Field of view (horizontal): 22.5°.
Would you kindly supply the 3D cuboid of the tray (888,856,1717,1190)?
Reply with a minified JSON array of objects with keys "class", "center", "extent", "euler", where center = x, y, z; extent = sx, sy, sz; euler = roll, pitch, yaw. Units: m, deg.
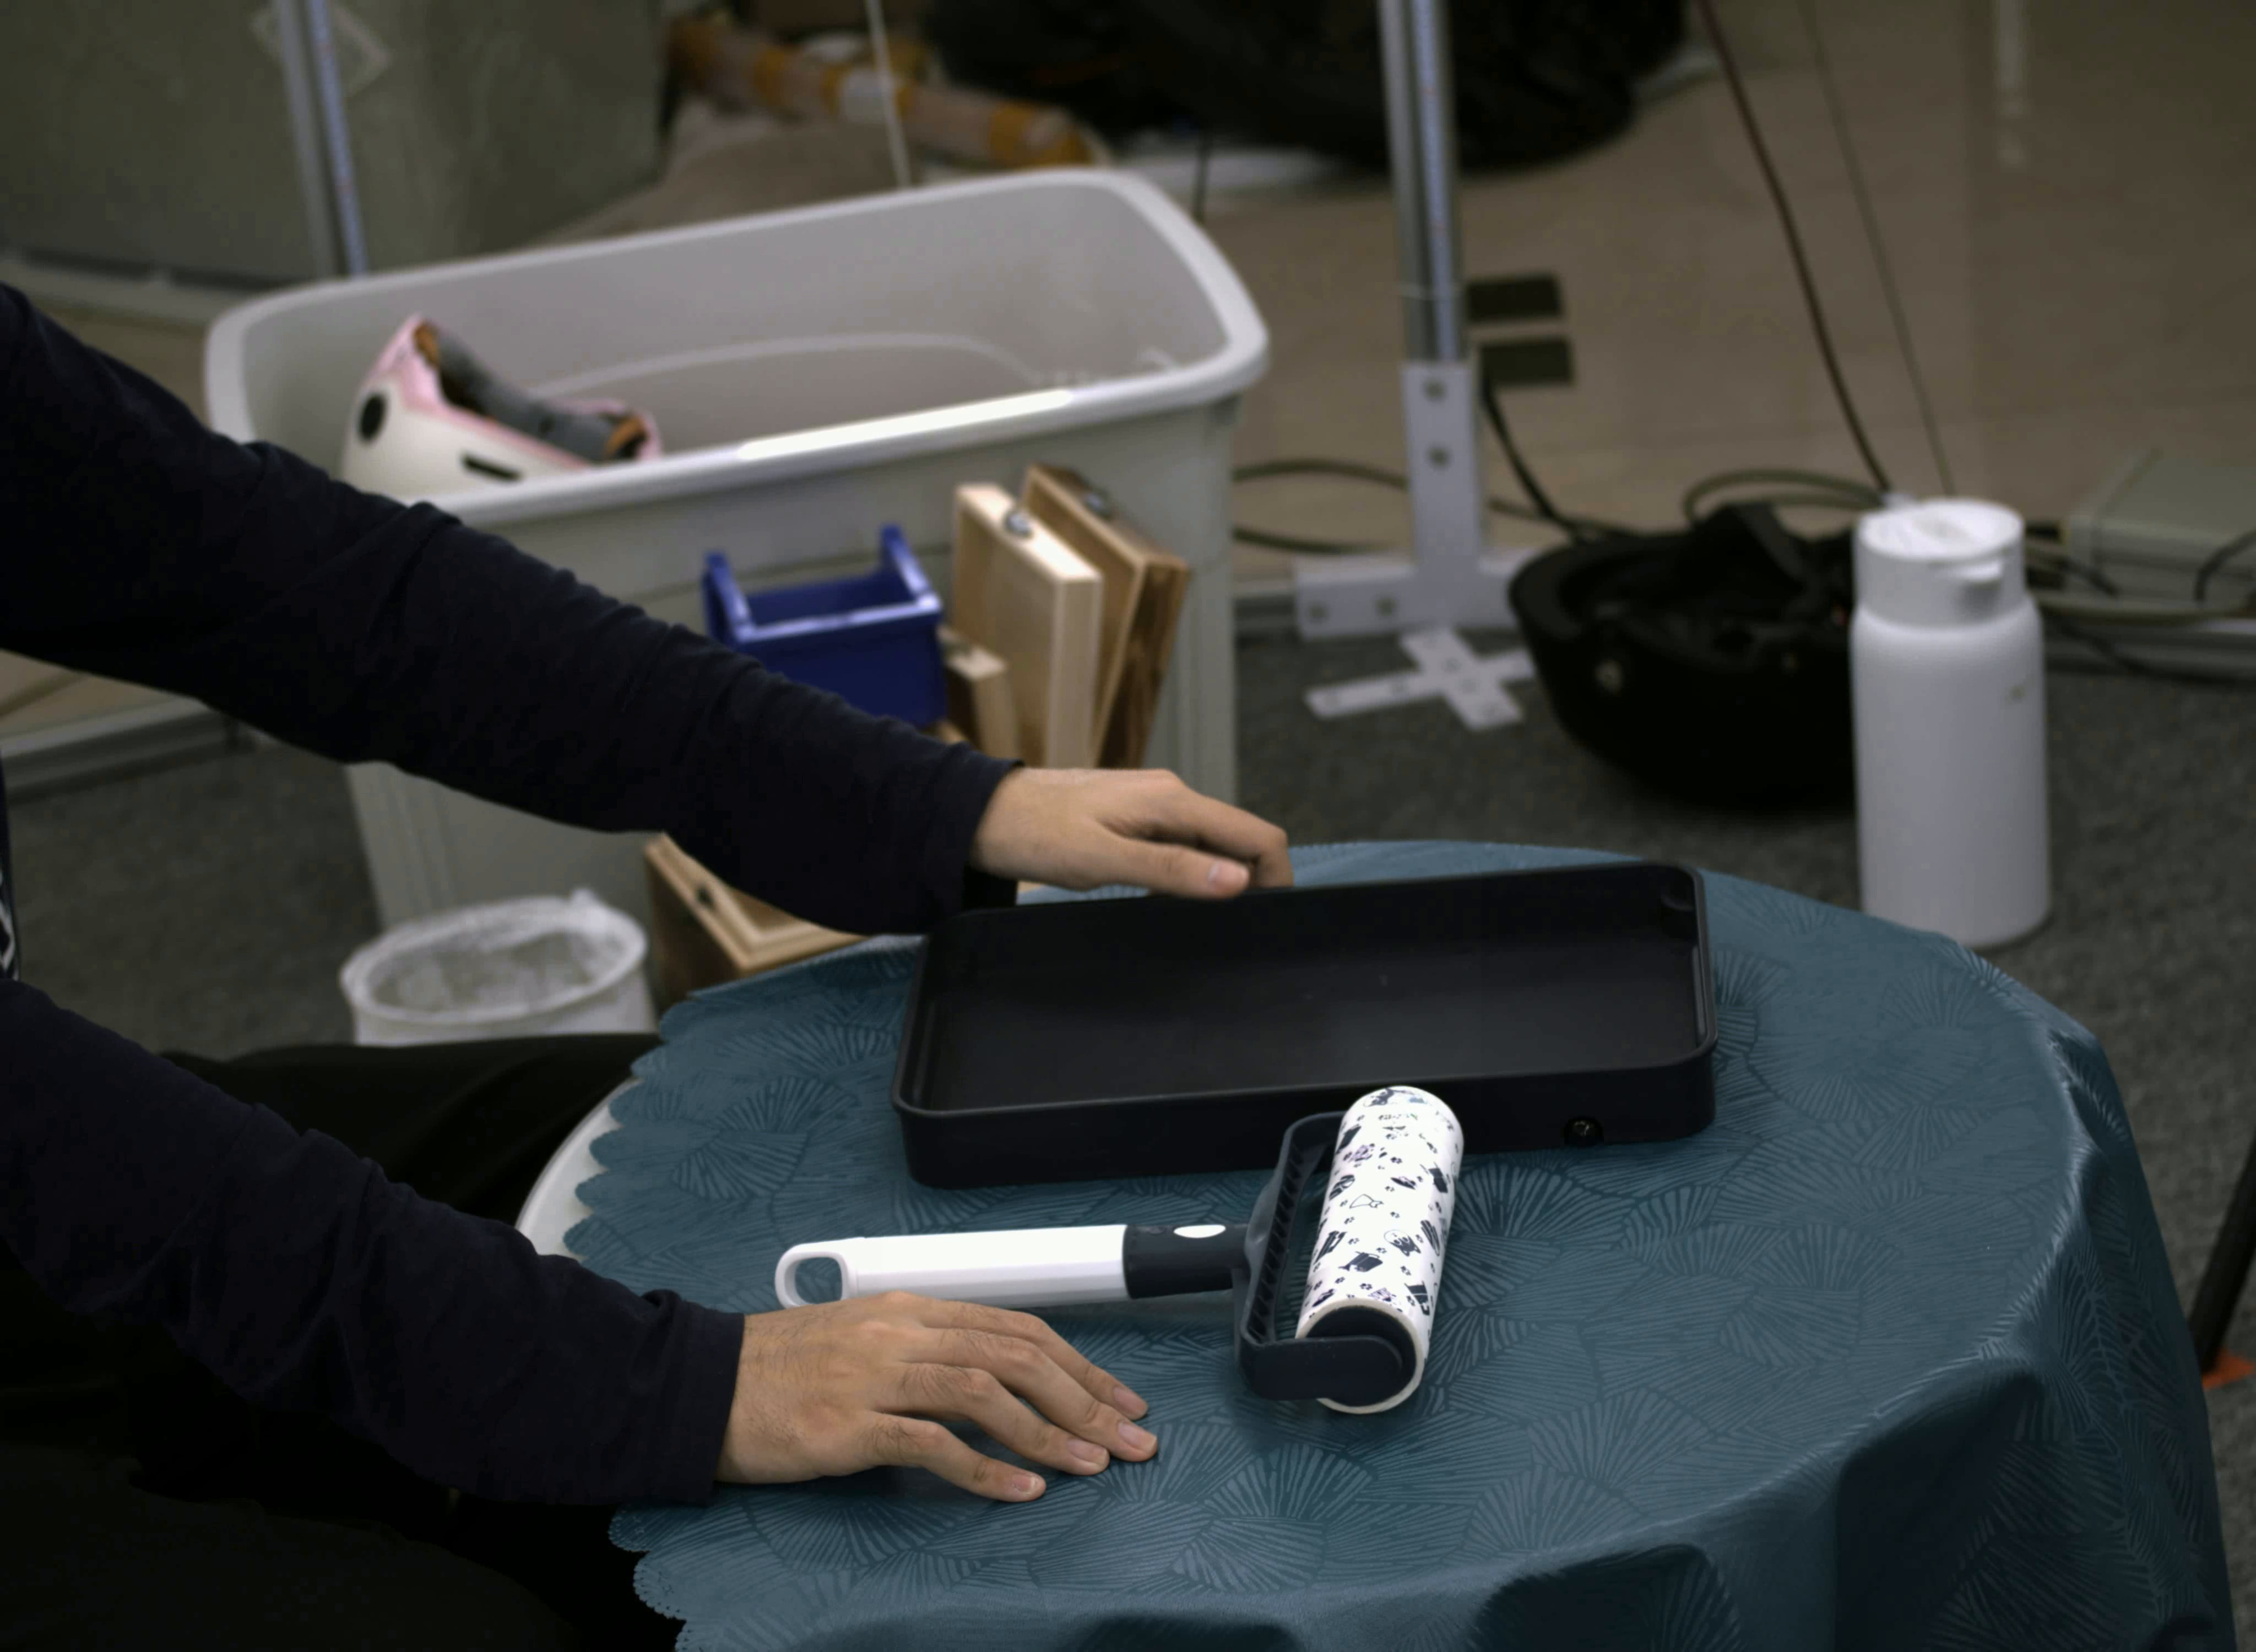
[{"class":"tray","center":[0.071,0.075,2.227],"extent":[0.317,0.037,0.181],"euler":[-5,24,6]}]

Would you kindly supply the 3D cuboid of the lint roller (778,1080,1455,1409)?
[{"class":"lint roller","center":[-0.009,0.159,2.062],"extent":[0.247,0.051,0.173],"euler":[-5,25,11]}]
